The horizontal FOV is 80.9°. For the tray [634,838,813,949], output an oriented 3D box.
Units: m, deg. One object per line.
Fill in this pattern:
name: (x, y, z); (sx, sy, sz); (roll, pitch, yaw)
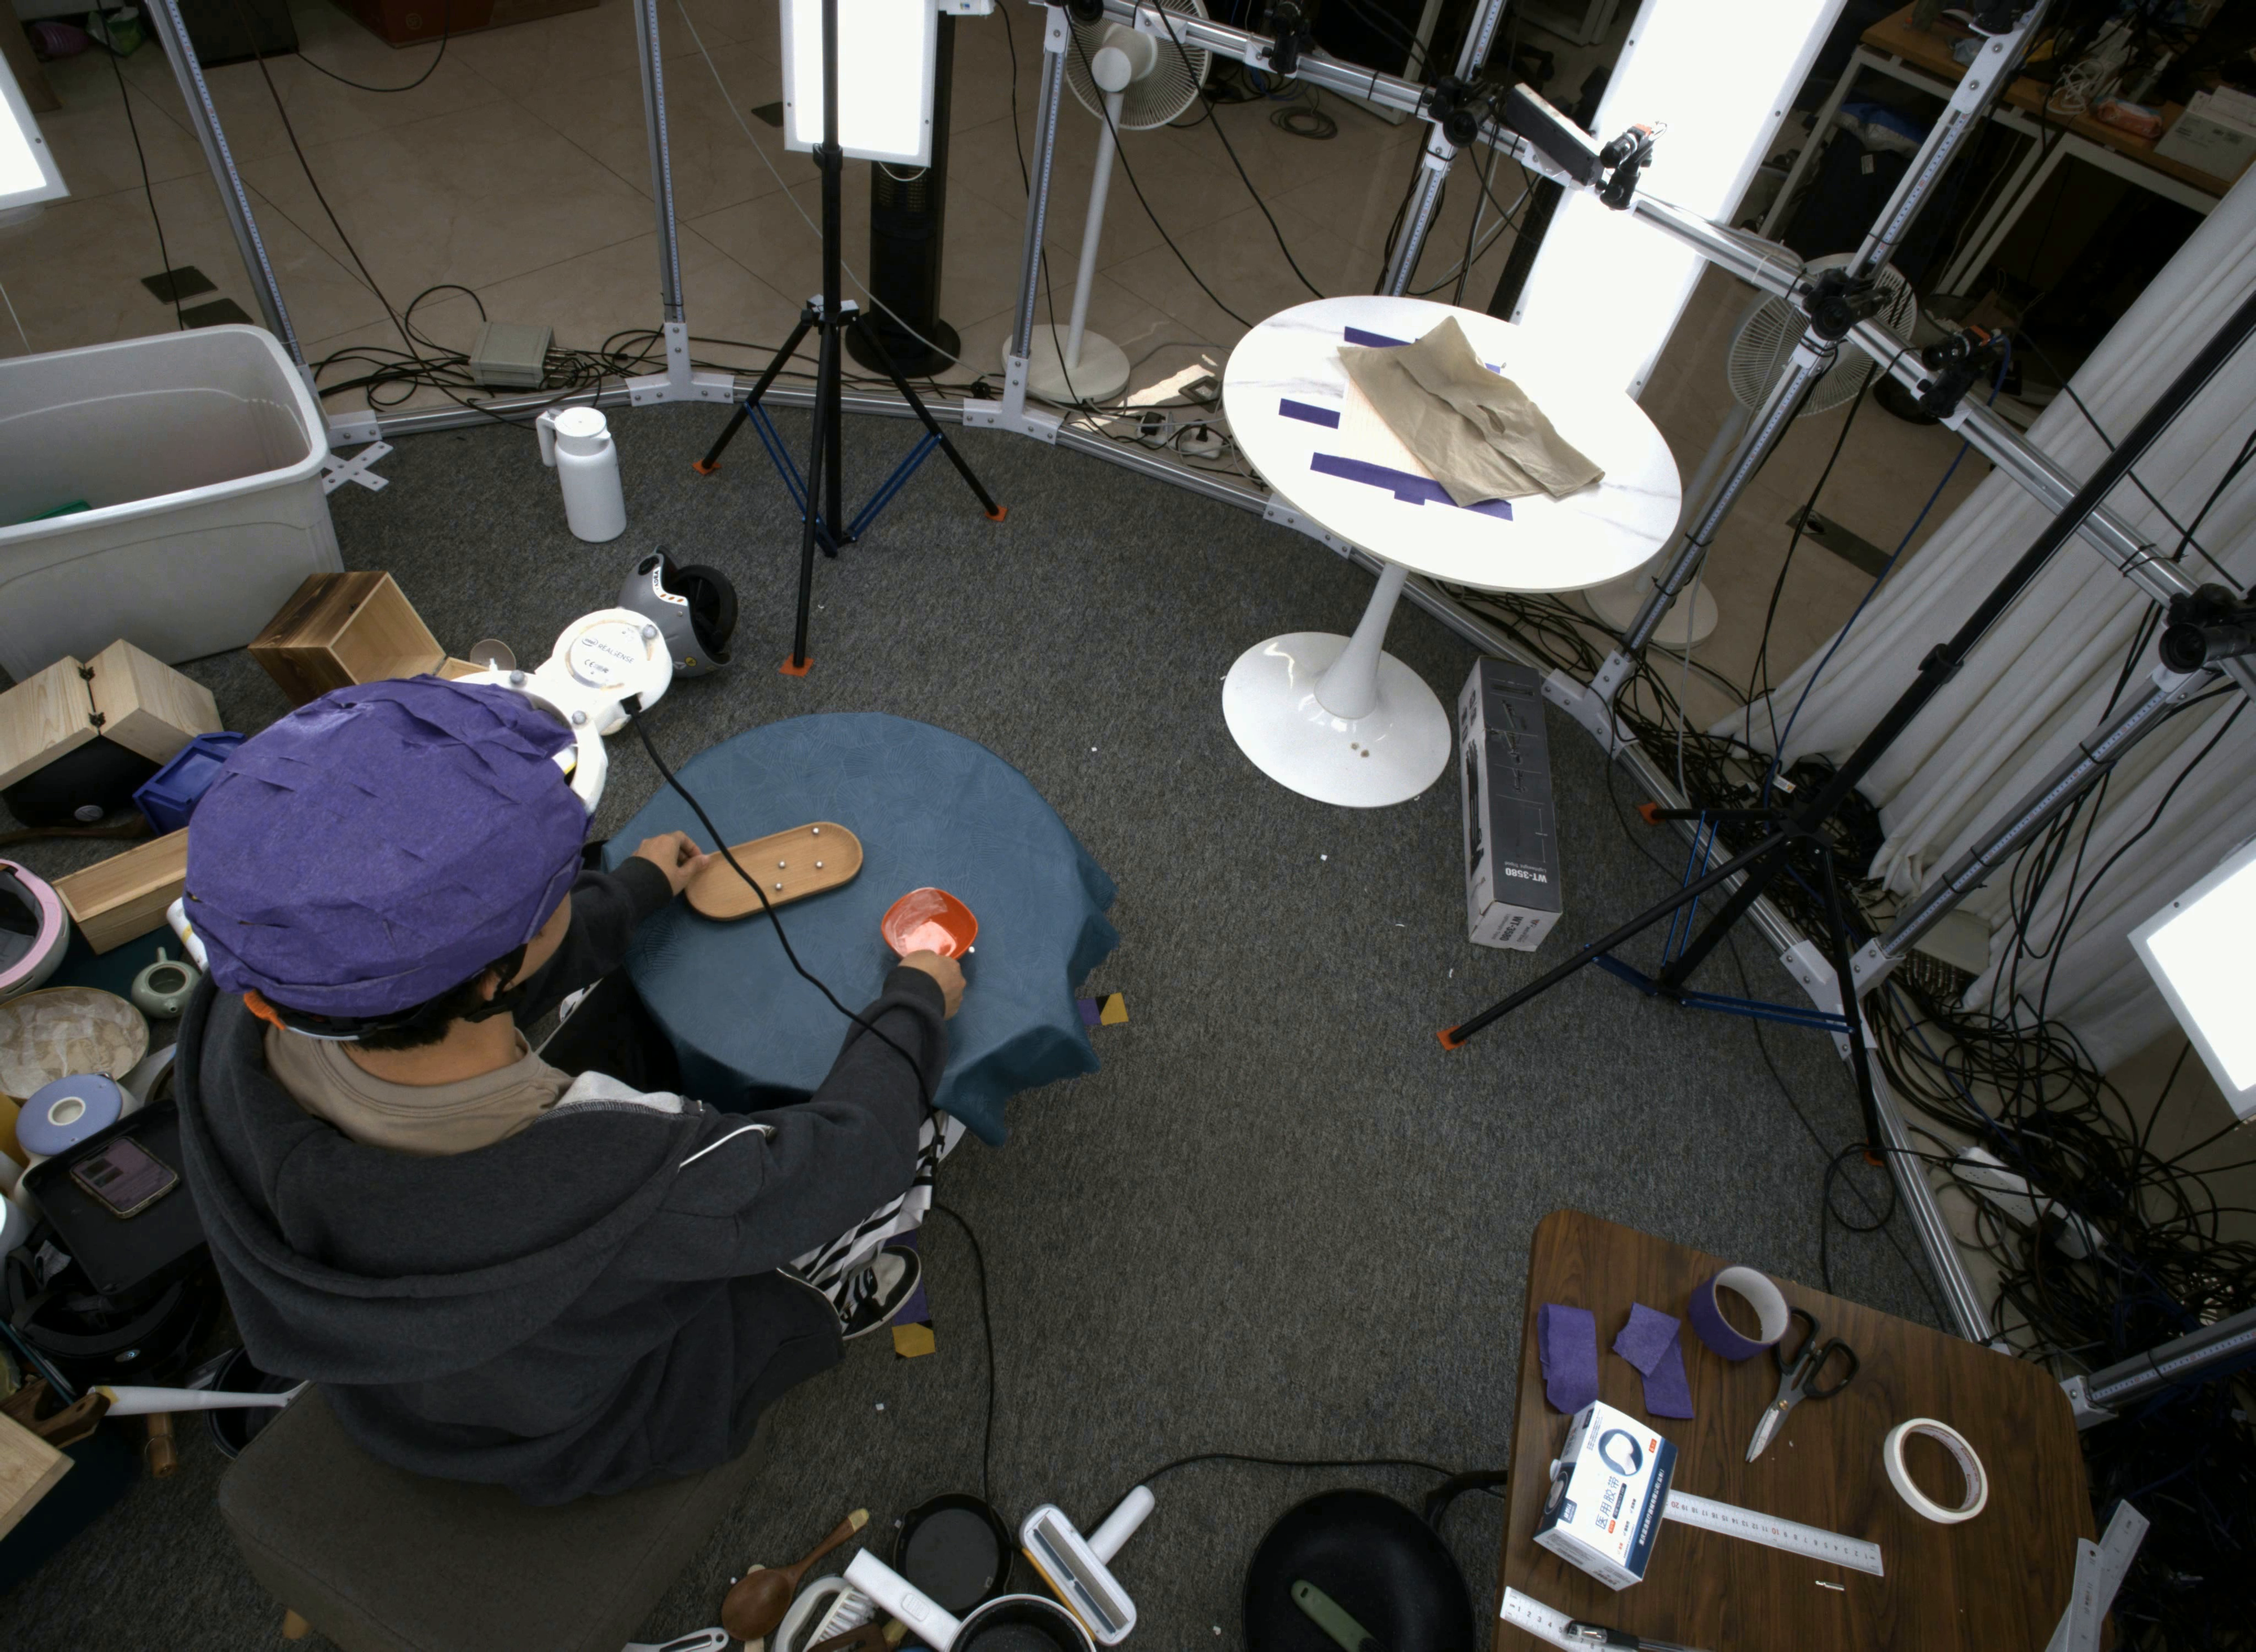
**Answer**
tray: (-0.510, 0.083, 1.631); (0.232, 0.020, 0.099); (-24, 65, -28)

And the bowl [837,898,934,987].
bowl: (-0.301, 0.151, 1.613); (0.119, 0.052, 0.117); (8, 52, -9)
